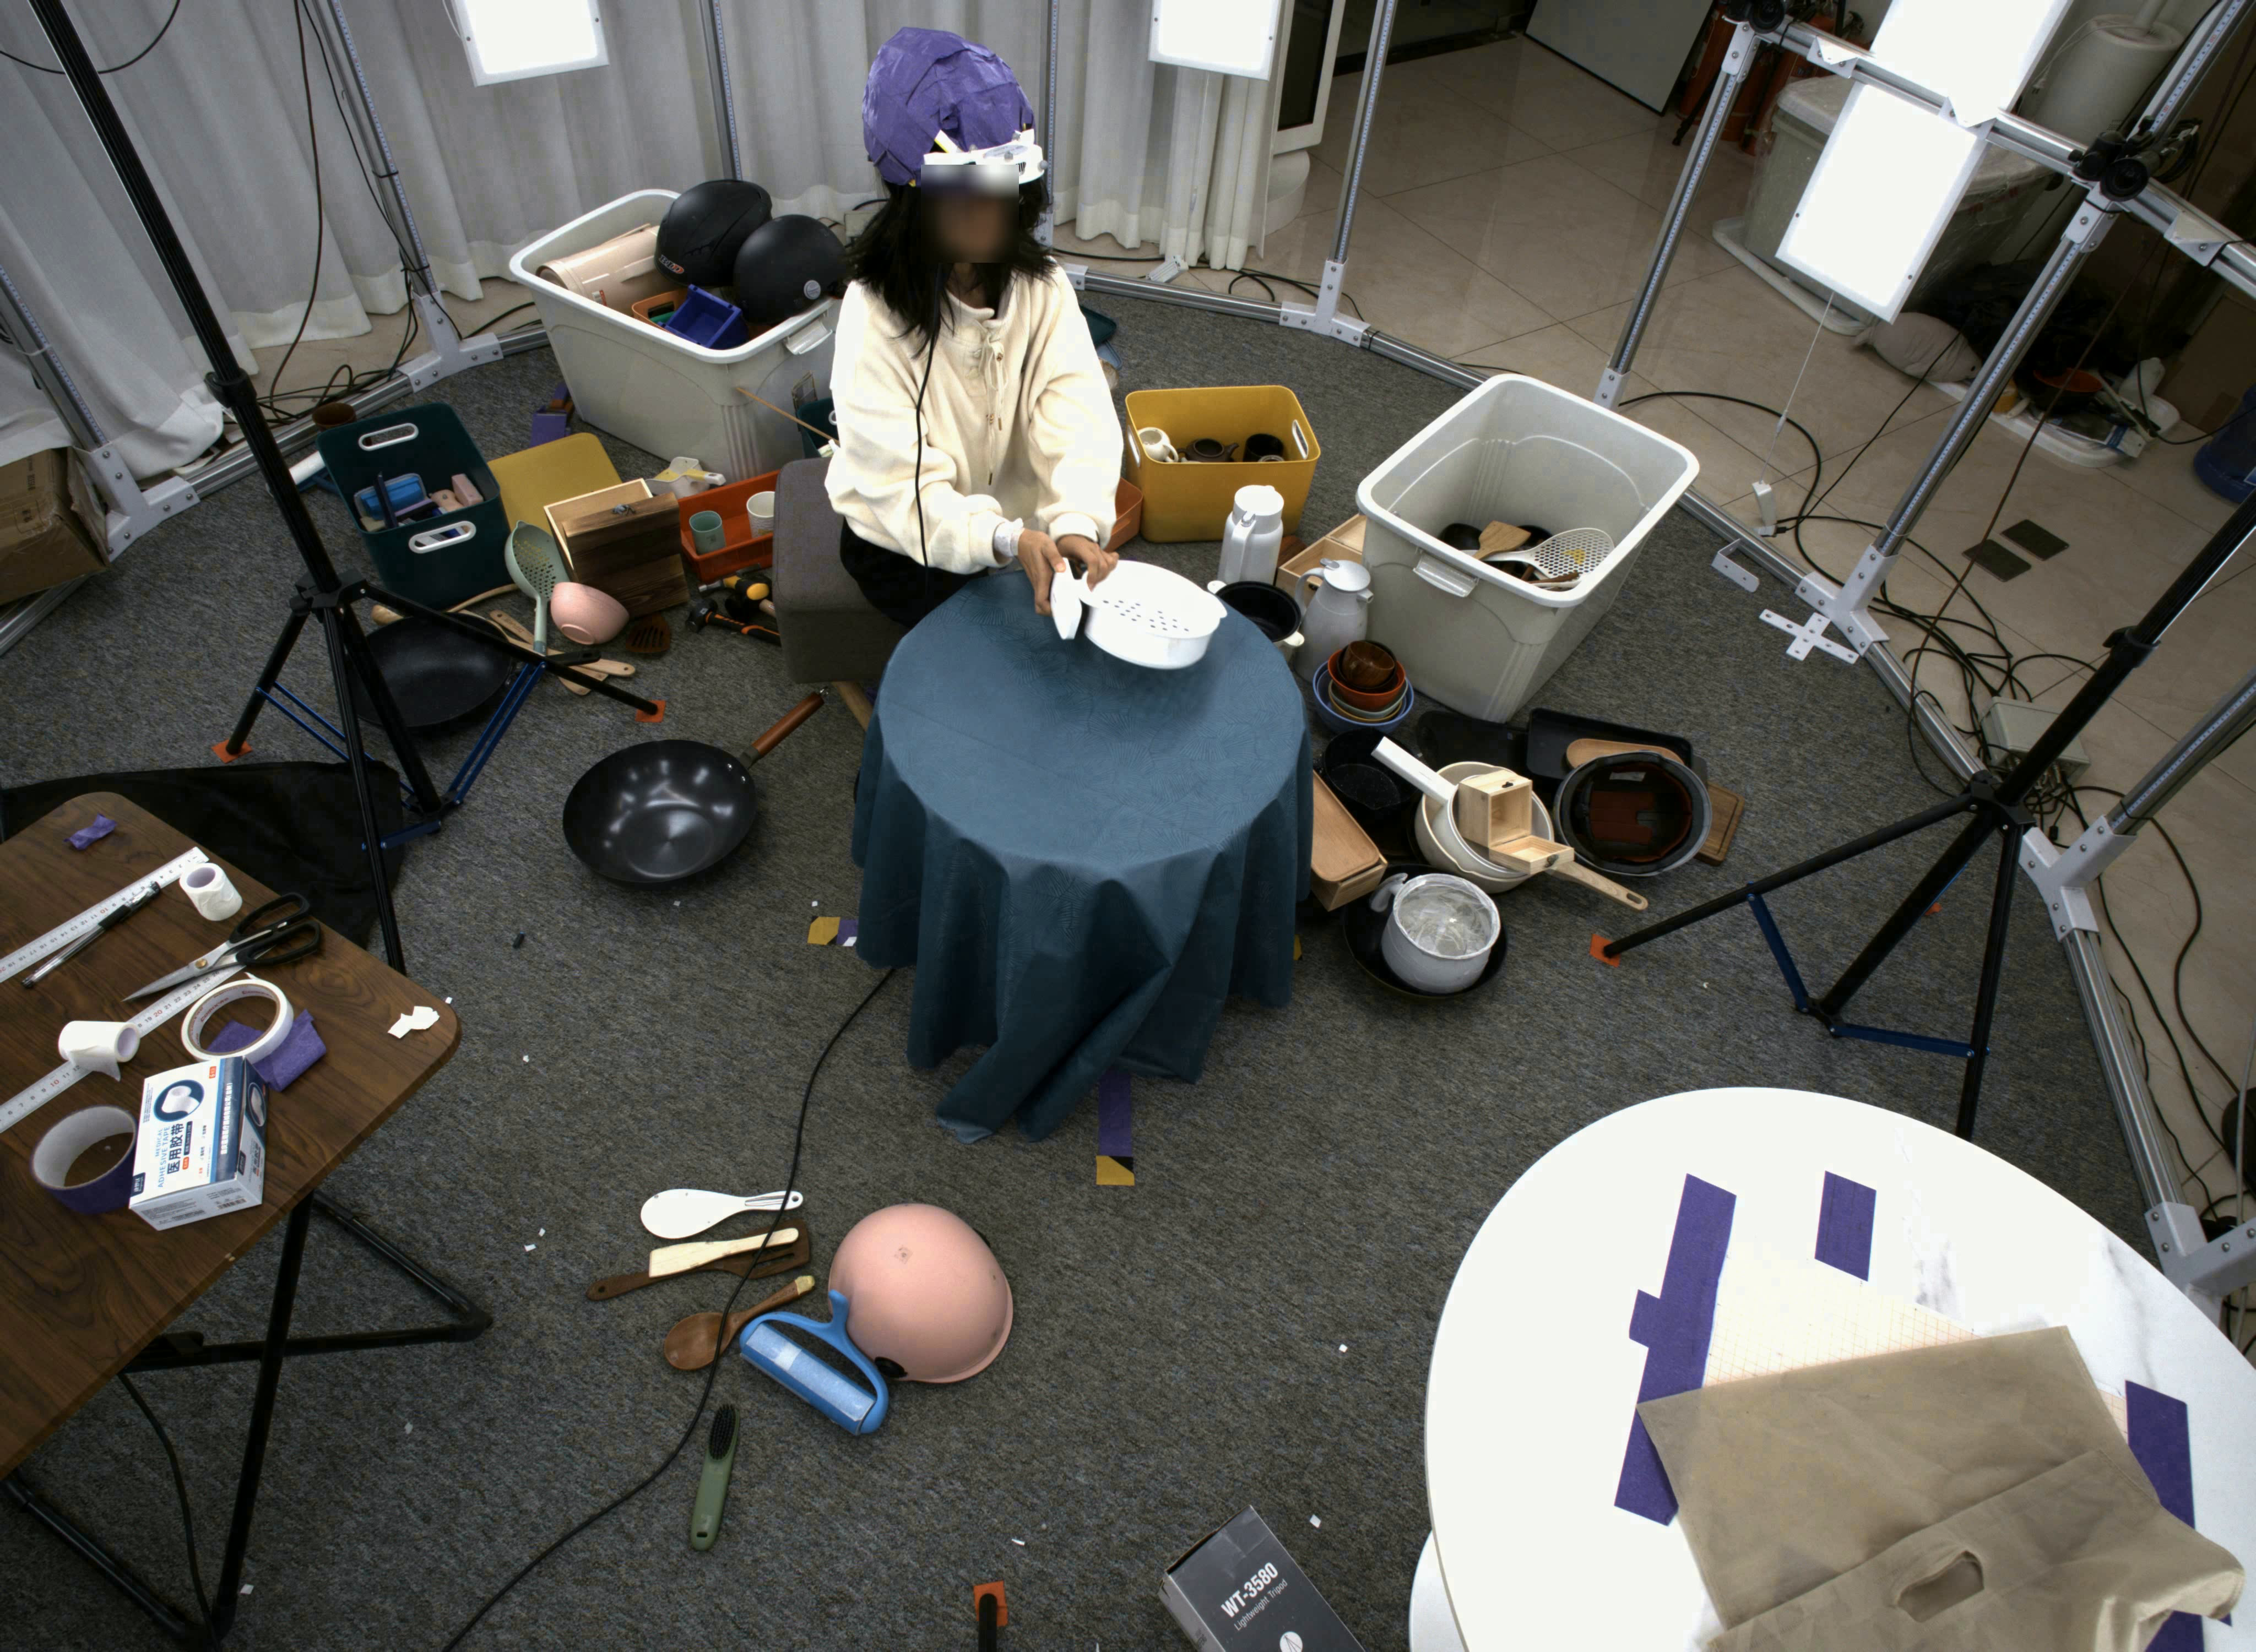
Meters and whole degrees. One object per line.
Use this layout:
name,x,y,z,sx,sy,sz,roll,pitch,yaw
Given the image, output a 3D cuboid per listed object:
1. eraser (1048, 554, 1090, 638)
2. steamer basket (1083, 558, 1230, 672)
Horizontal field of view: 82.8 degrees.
eraser,-0.087,-0.327,1.818,0.034,0.062,0.134,0,47,-20
steamer basket,0.033,-0.300,1.831,0.229,0.068,0.207,5,39,-28
